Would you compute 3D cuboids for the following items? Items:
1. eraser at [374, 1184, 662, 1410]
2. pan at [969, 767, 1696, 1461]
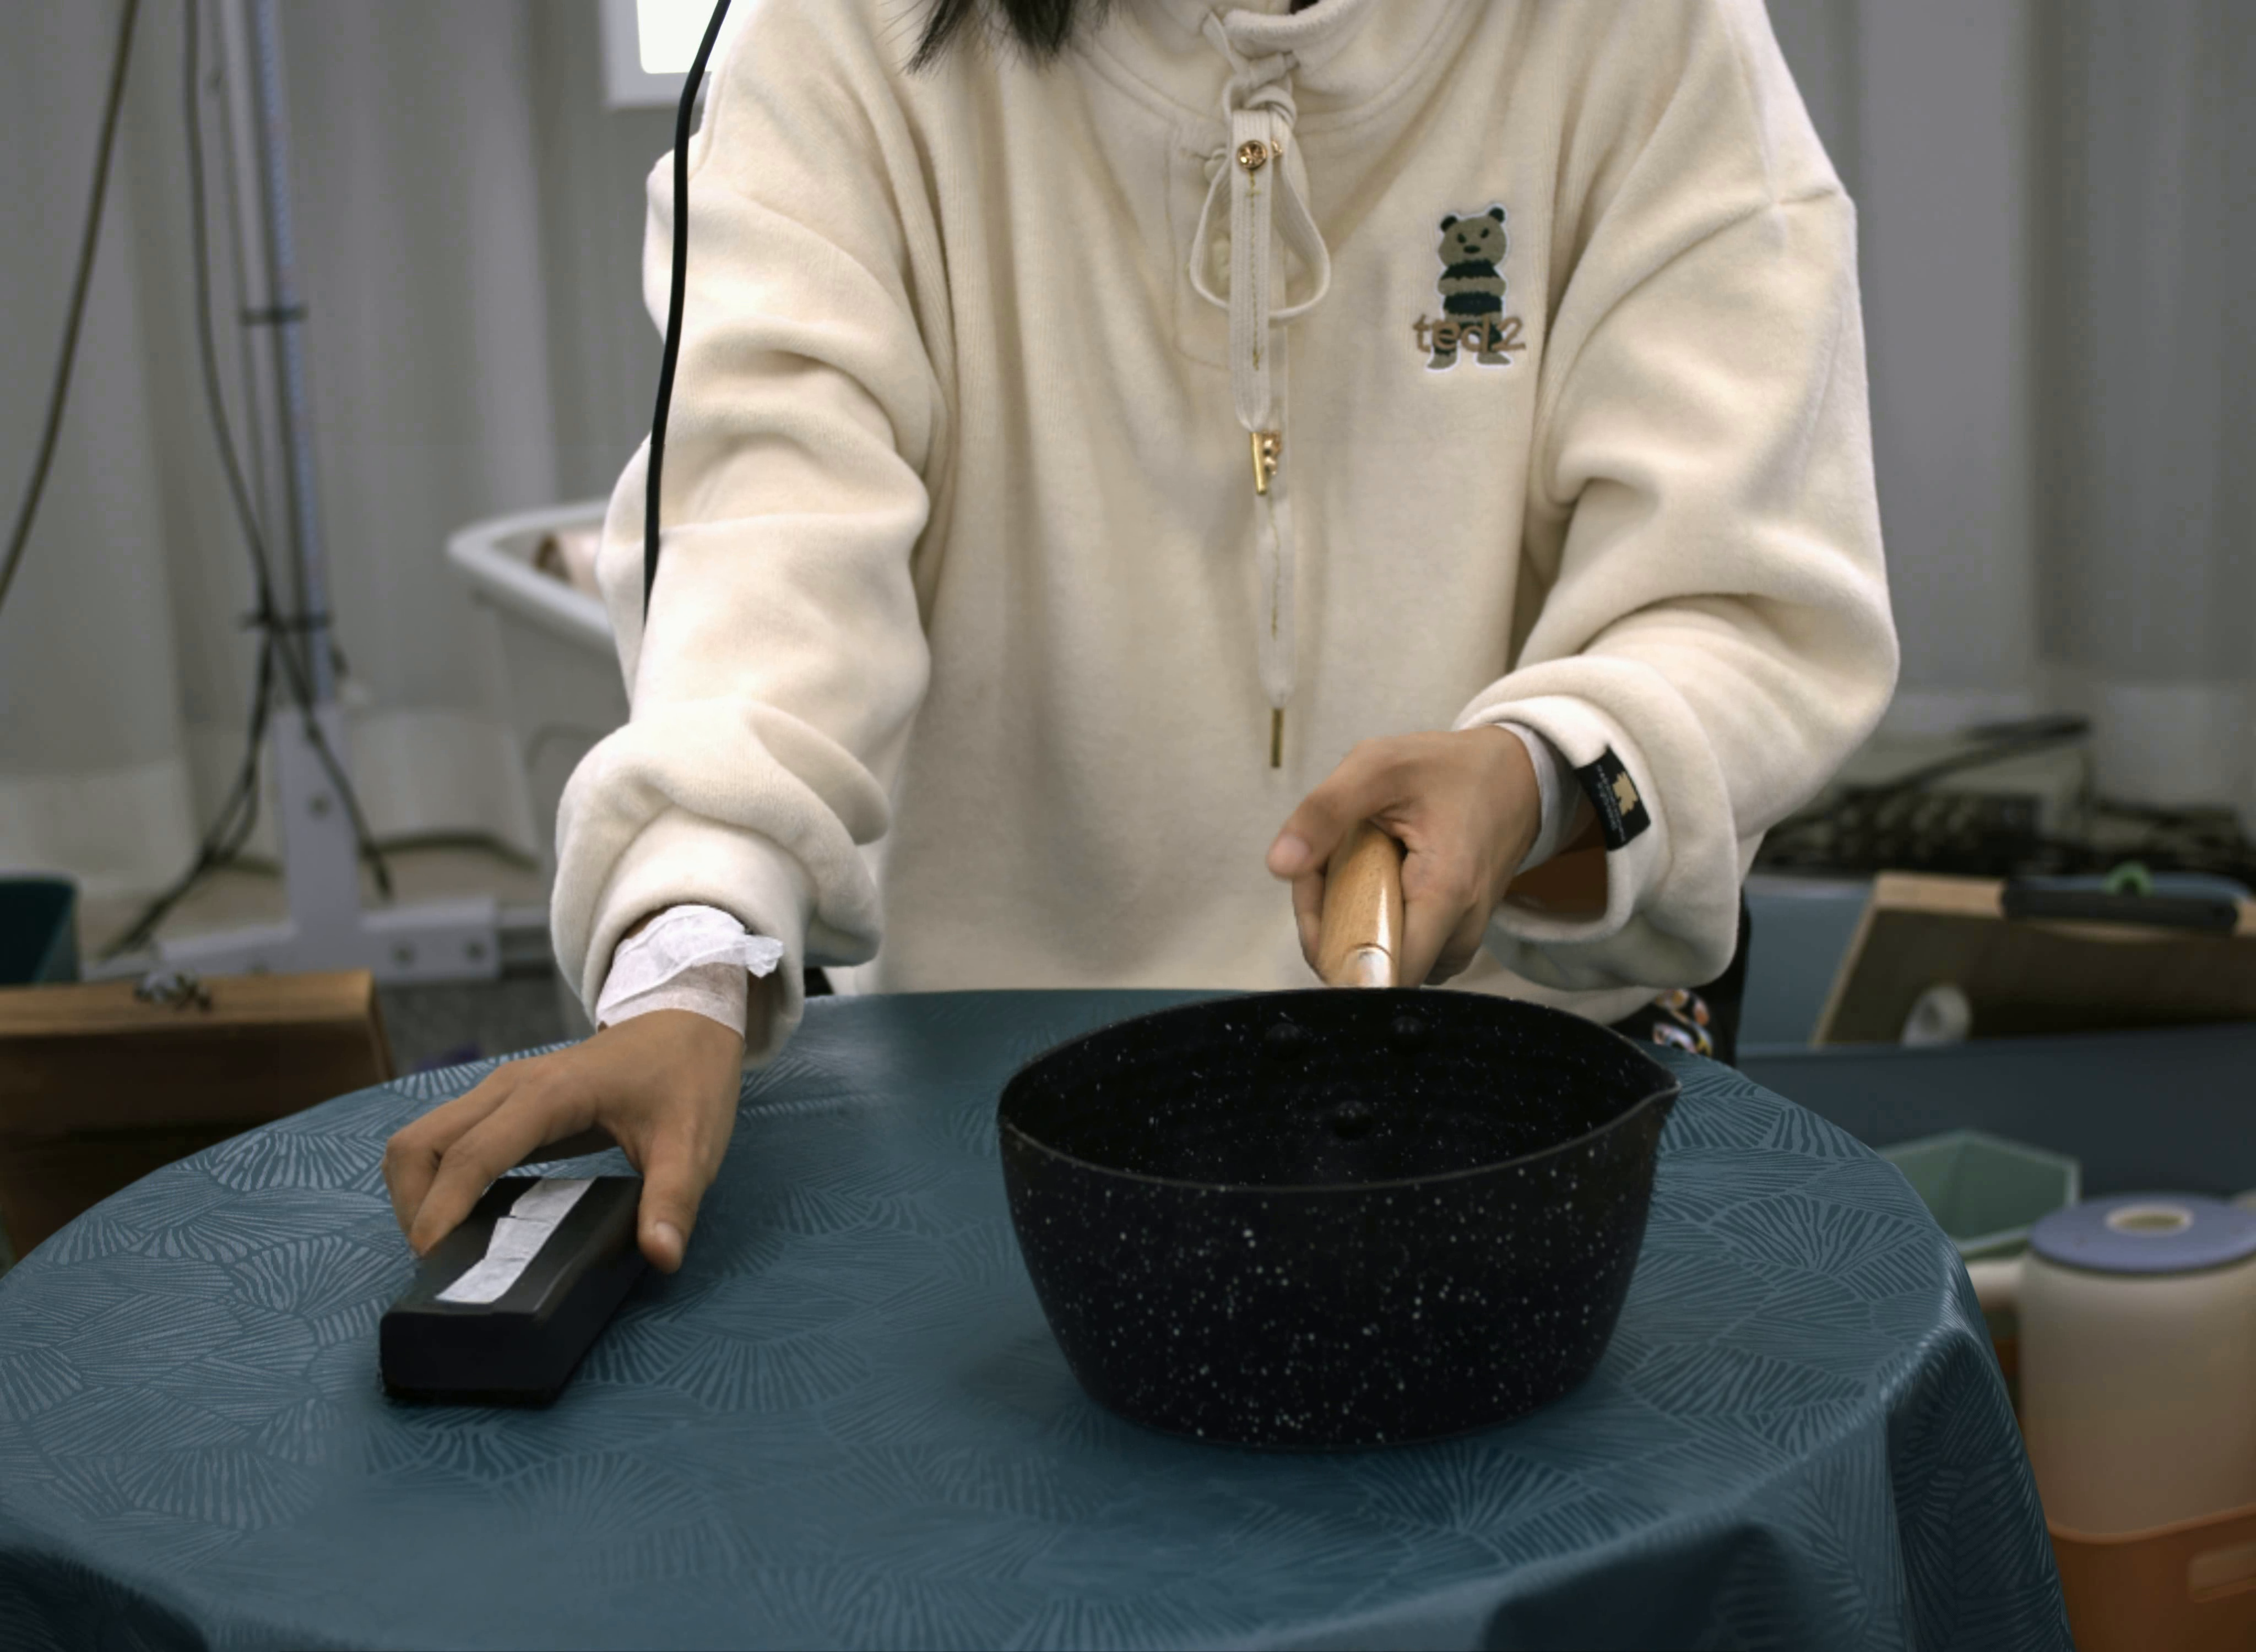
[{"bbox_3d":[-0.177,0.138,1.610,0.053,0.030,0.126,0,14,11],"label":"eraser"},{"bbox_3d":[0.064,0.080,1.622,0.207,0.108,0.345,-2,16,6],"label":"pan"}]
